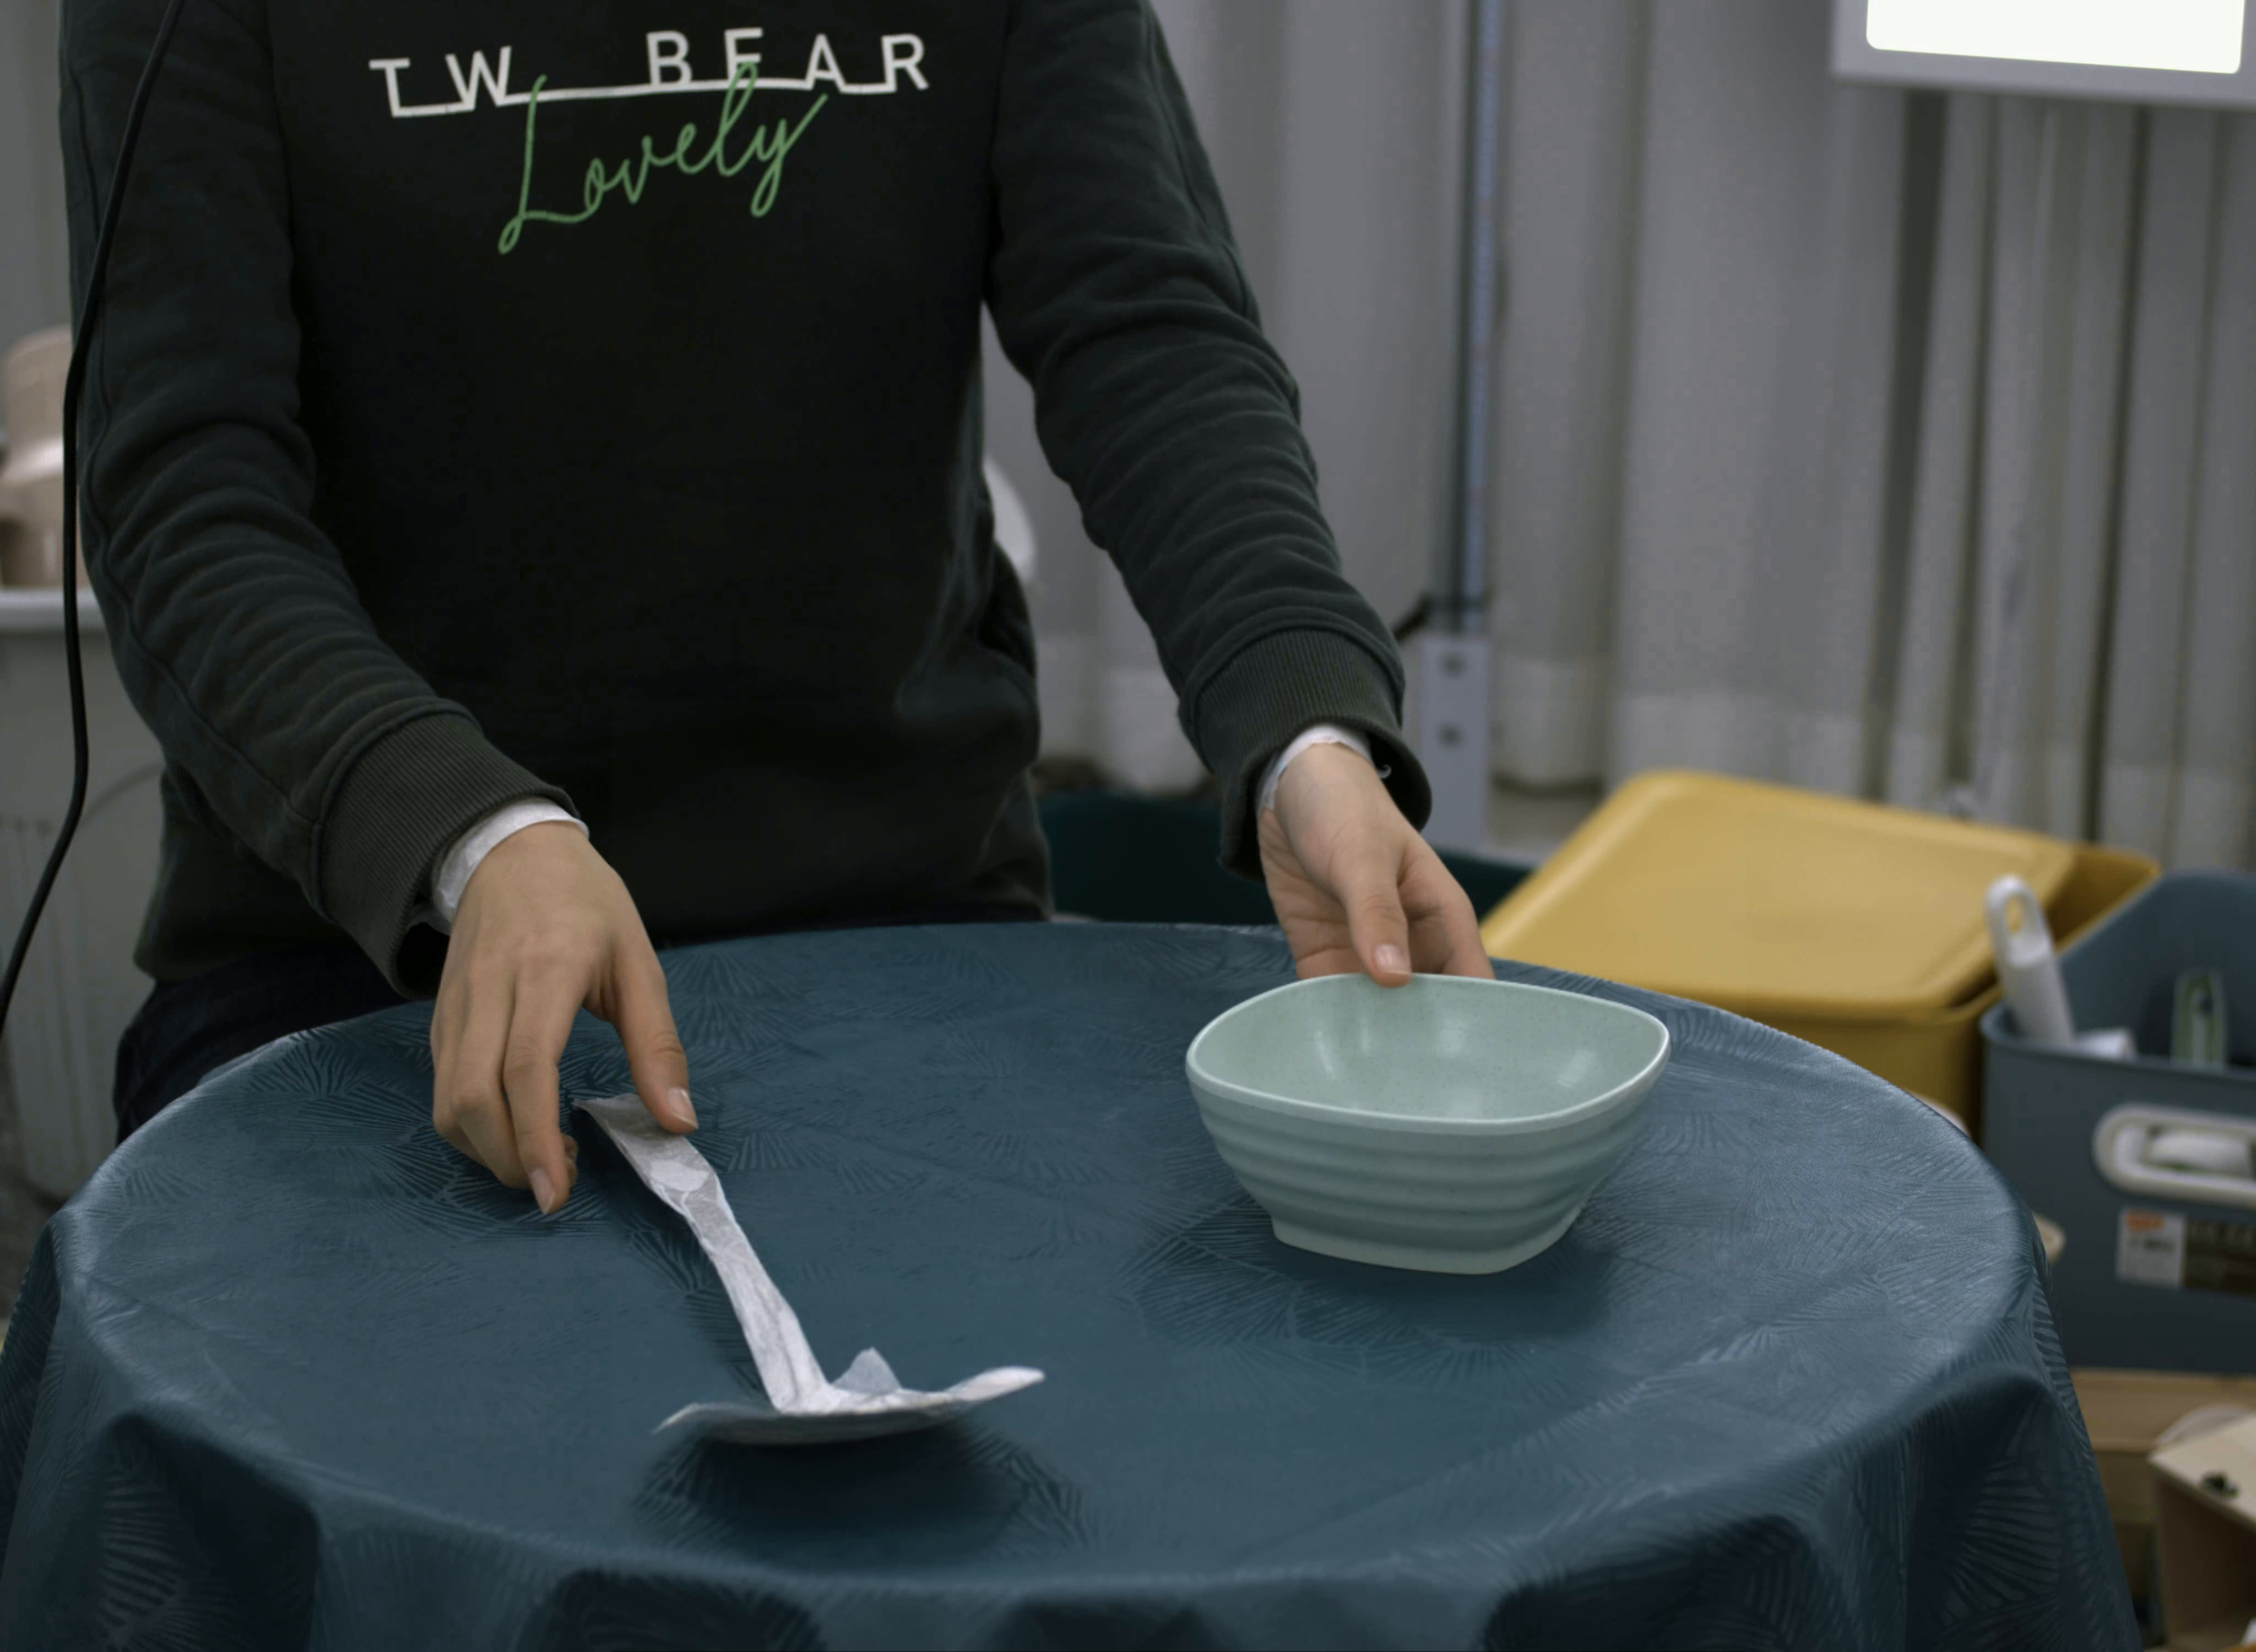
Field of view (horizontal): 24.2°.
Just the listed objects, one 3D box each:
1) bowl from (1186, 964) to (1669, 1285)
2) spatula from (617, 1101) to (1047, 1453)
[{"bbox_3d":[0.090,0.094,1.595,0.151,0.059,0.150,2,18,0],"label":"bowl"},{"bbox_3d":[-0.111,0.121,1.522,0.099,0.045,0.361,-6,17,-15],"label":"spatula"}]
